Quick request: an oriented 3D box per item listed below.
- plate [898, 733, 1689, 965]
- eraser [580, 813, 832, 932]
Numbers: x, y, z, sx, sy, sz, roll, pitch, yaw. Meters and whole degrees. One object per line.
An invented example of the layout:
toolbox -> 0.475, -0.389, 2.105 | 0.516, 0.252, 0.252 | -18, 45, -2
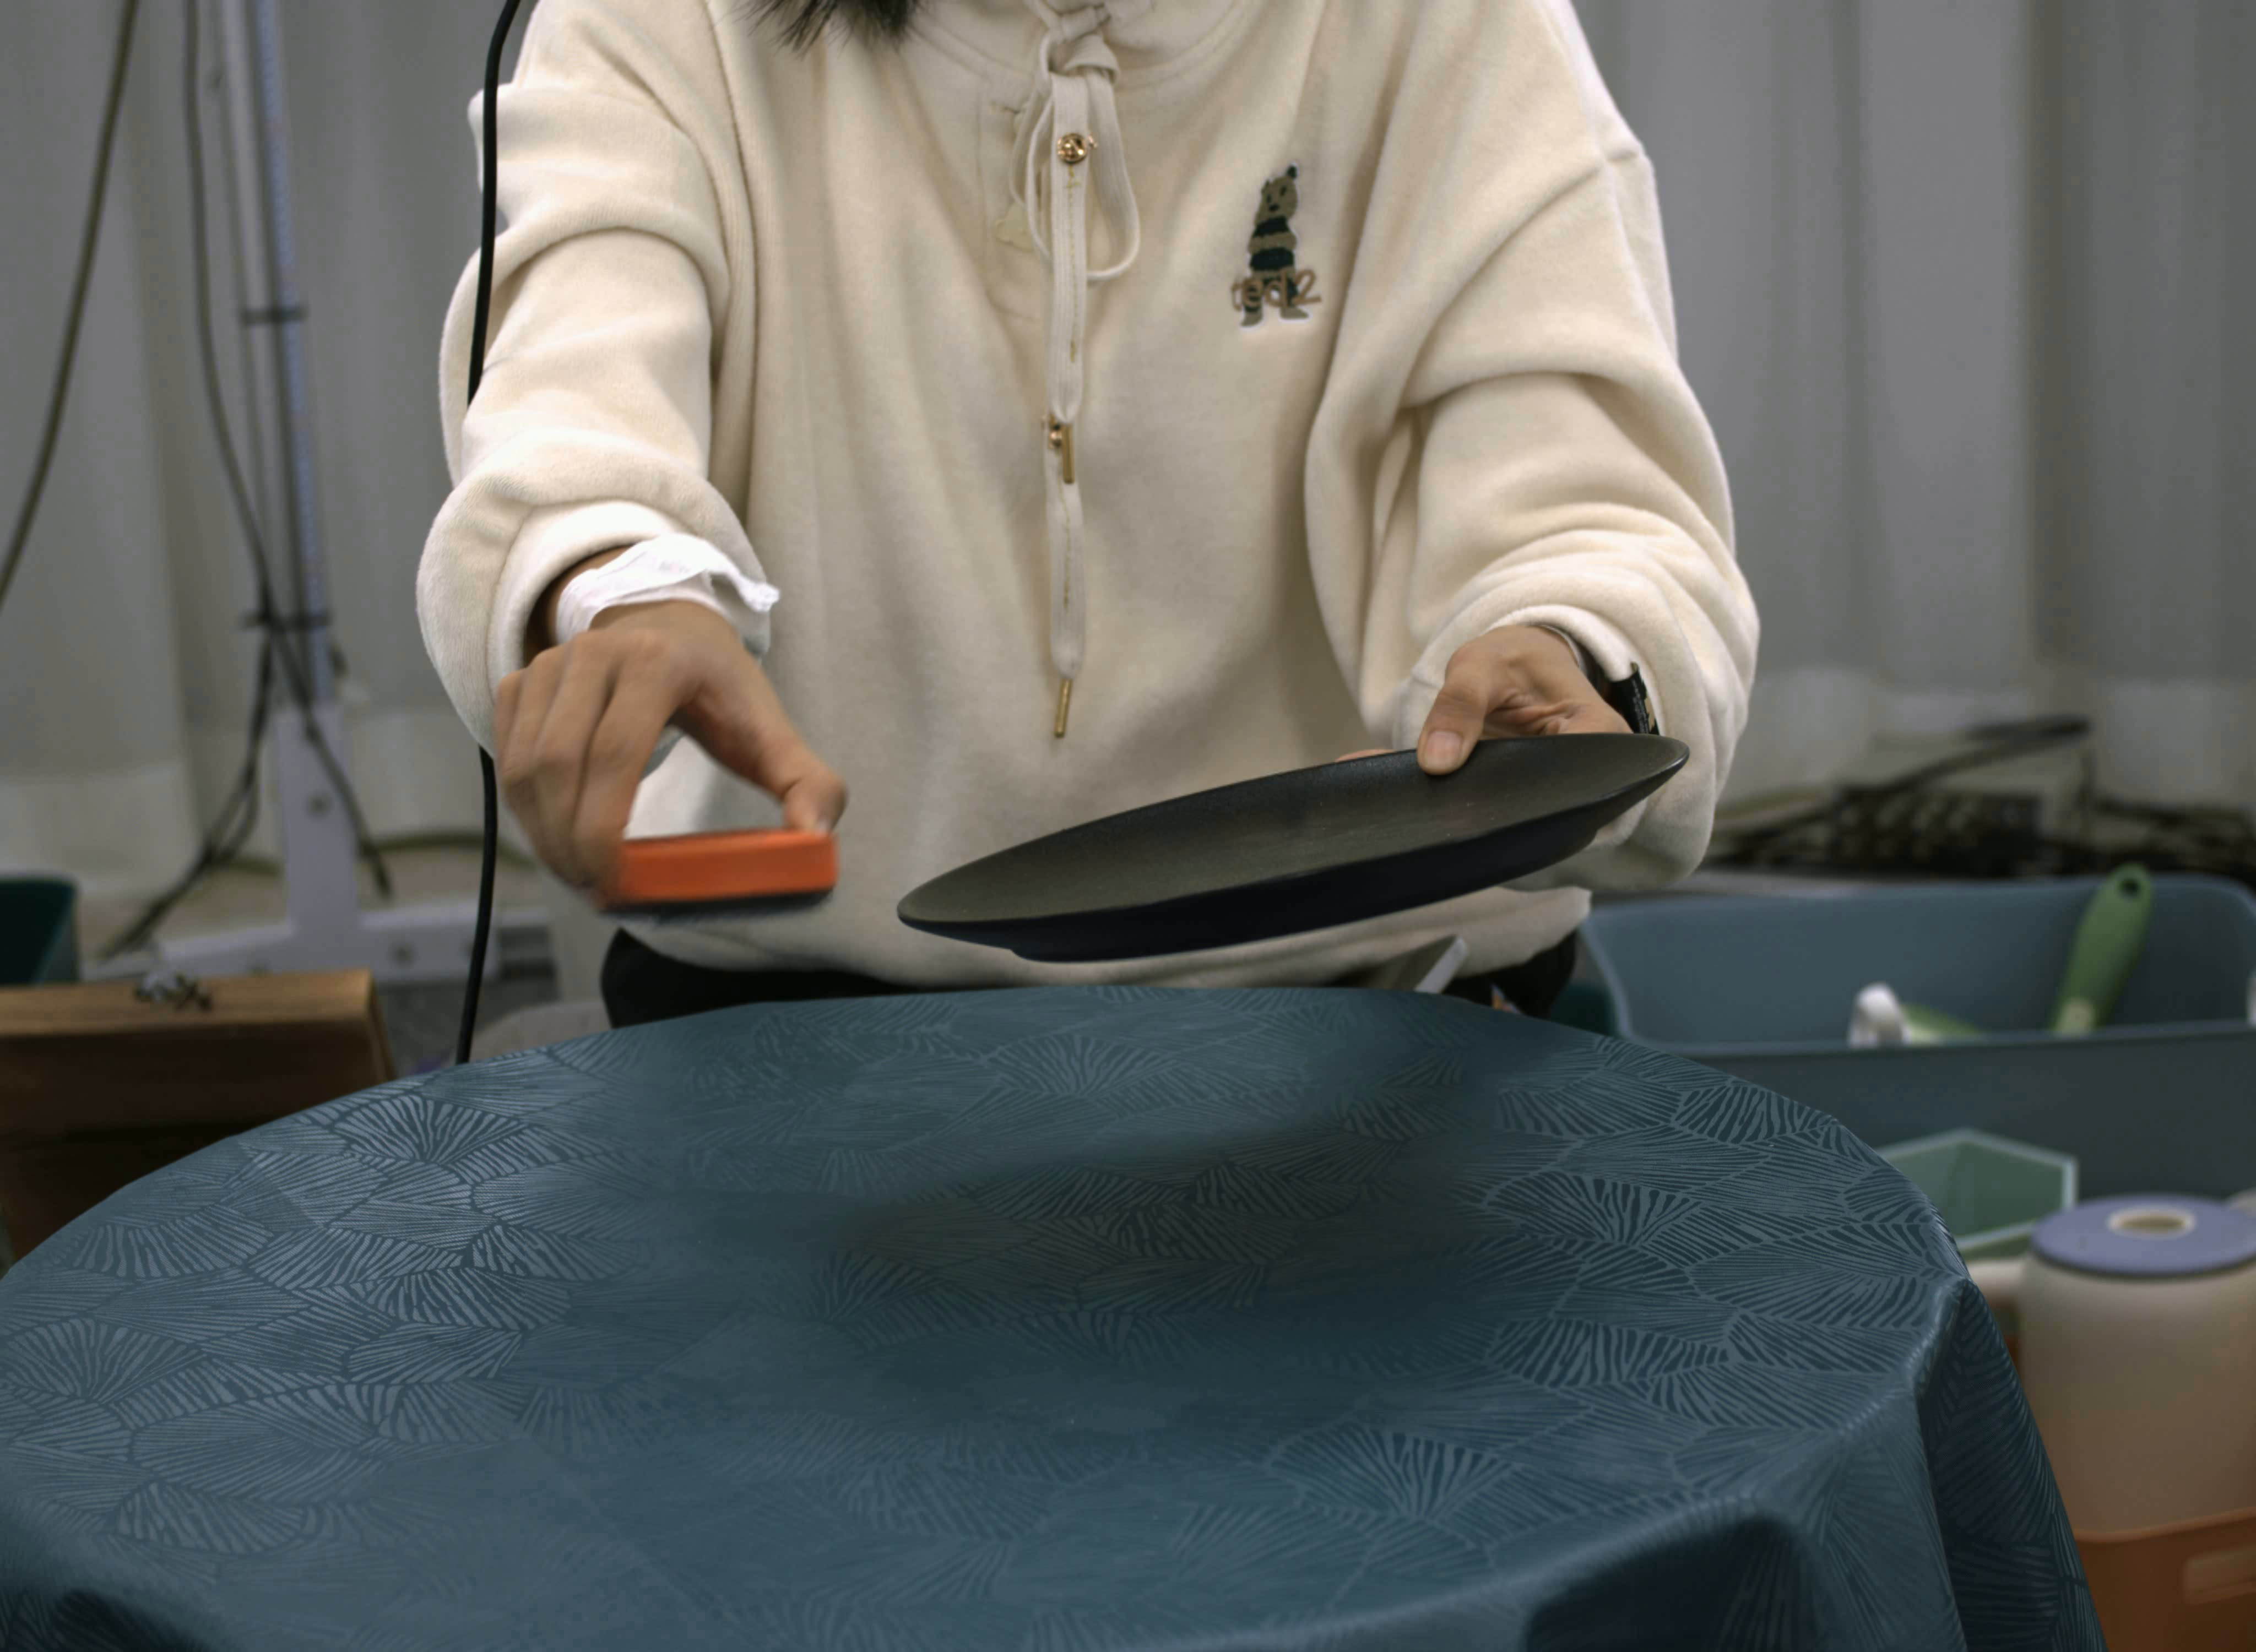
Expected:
plate -> 0.051, 0.009, 1.649 | 0.243, 0.023, 0.245 | -12, 6, 1
eraser -> -0.125, 0.013, 1.611 | 0.059, 0.023, 0.108 | -5, 7, -15
